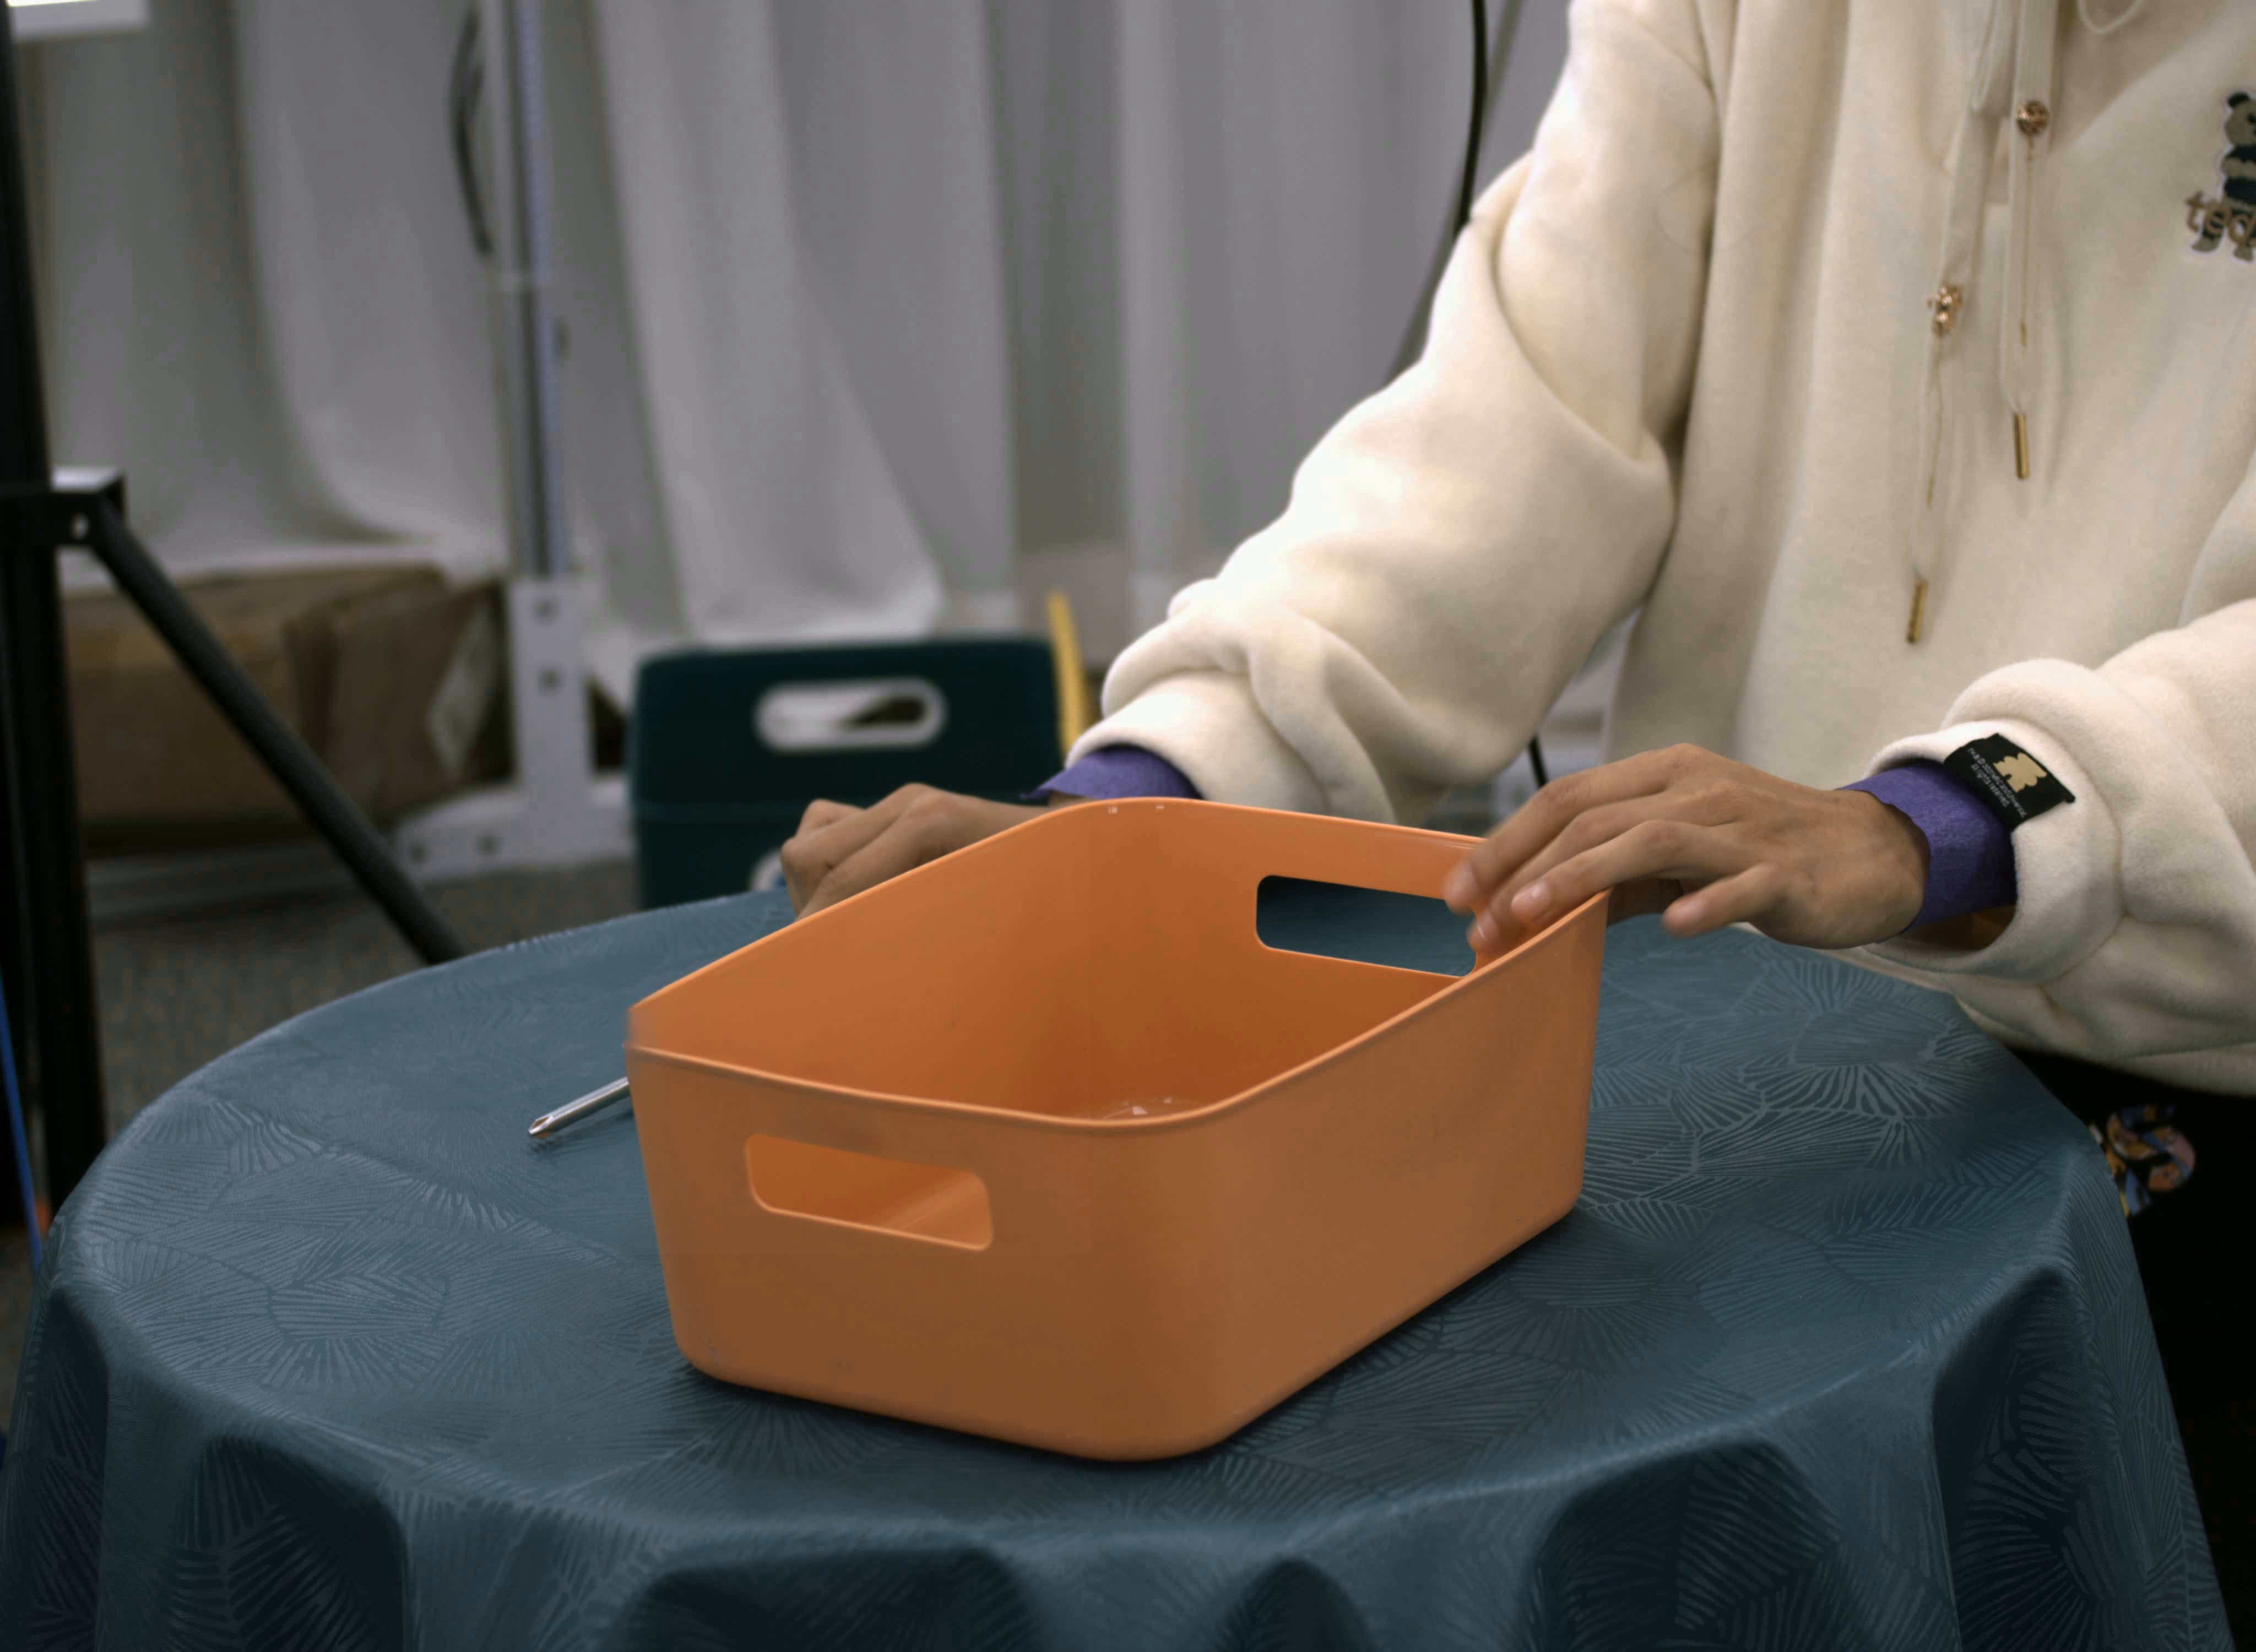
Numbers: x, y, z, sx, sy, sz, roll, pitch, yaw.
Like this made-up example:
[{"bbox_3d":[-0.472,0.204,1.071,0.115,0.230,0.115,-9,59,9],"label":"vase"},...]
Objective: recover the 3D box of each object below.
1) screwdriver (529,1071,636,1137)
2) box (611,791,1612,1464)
[{"bbox_3d":[-0.125,0.067,1.693,0.032,0.031,0.192,11,24,39],"label":"screwdriver"},{"bbox_3d":[0.004,0.079,1.466,0.203,0.102,0.268,7,19,33],"label":"box"}]
